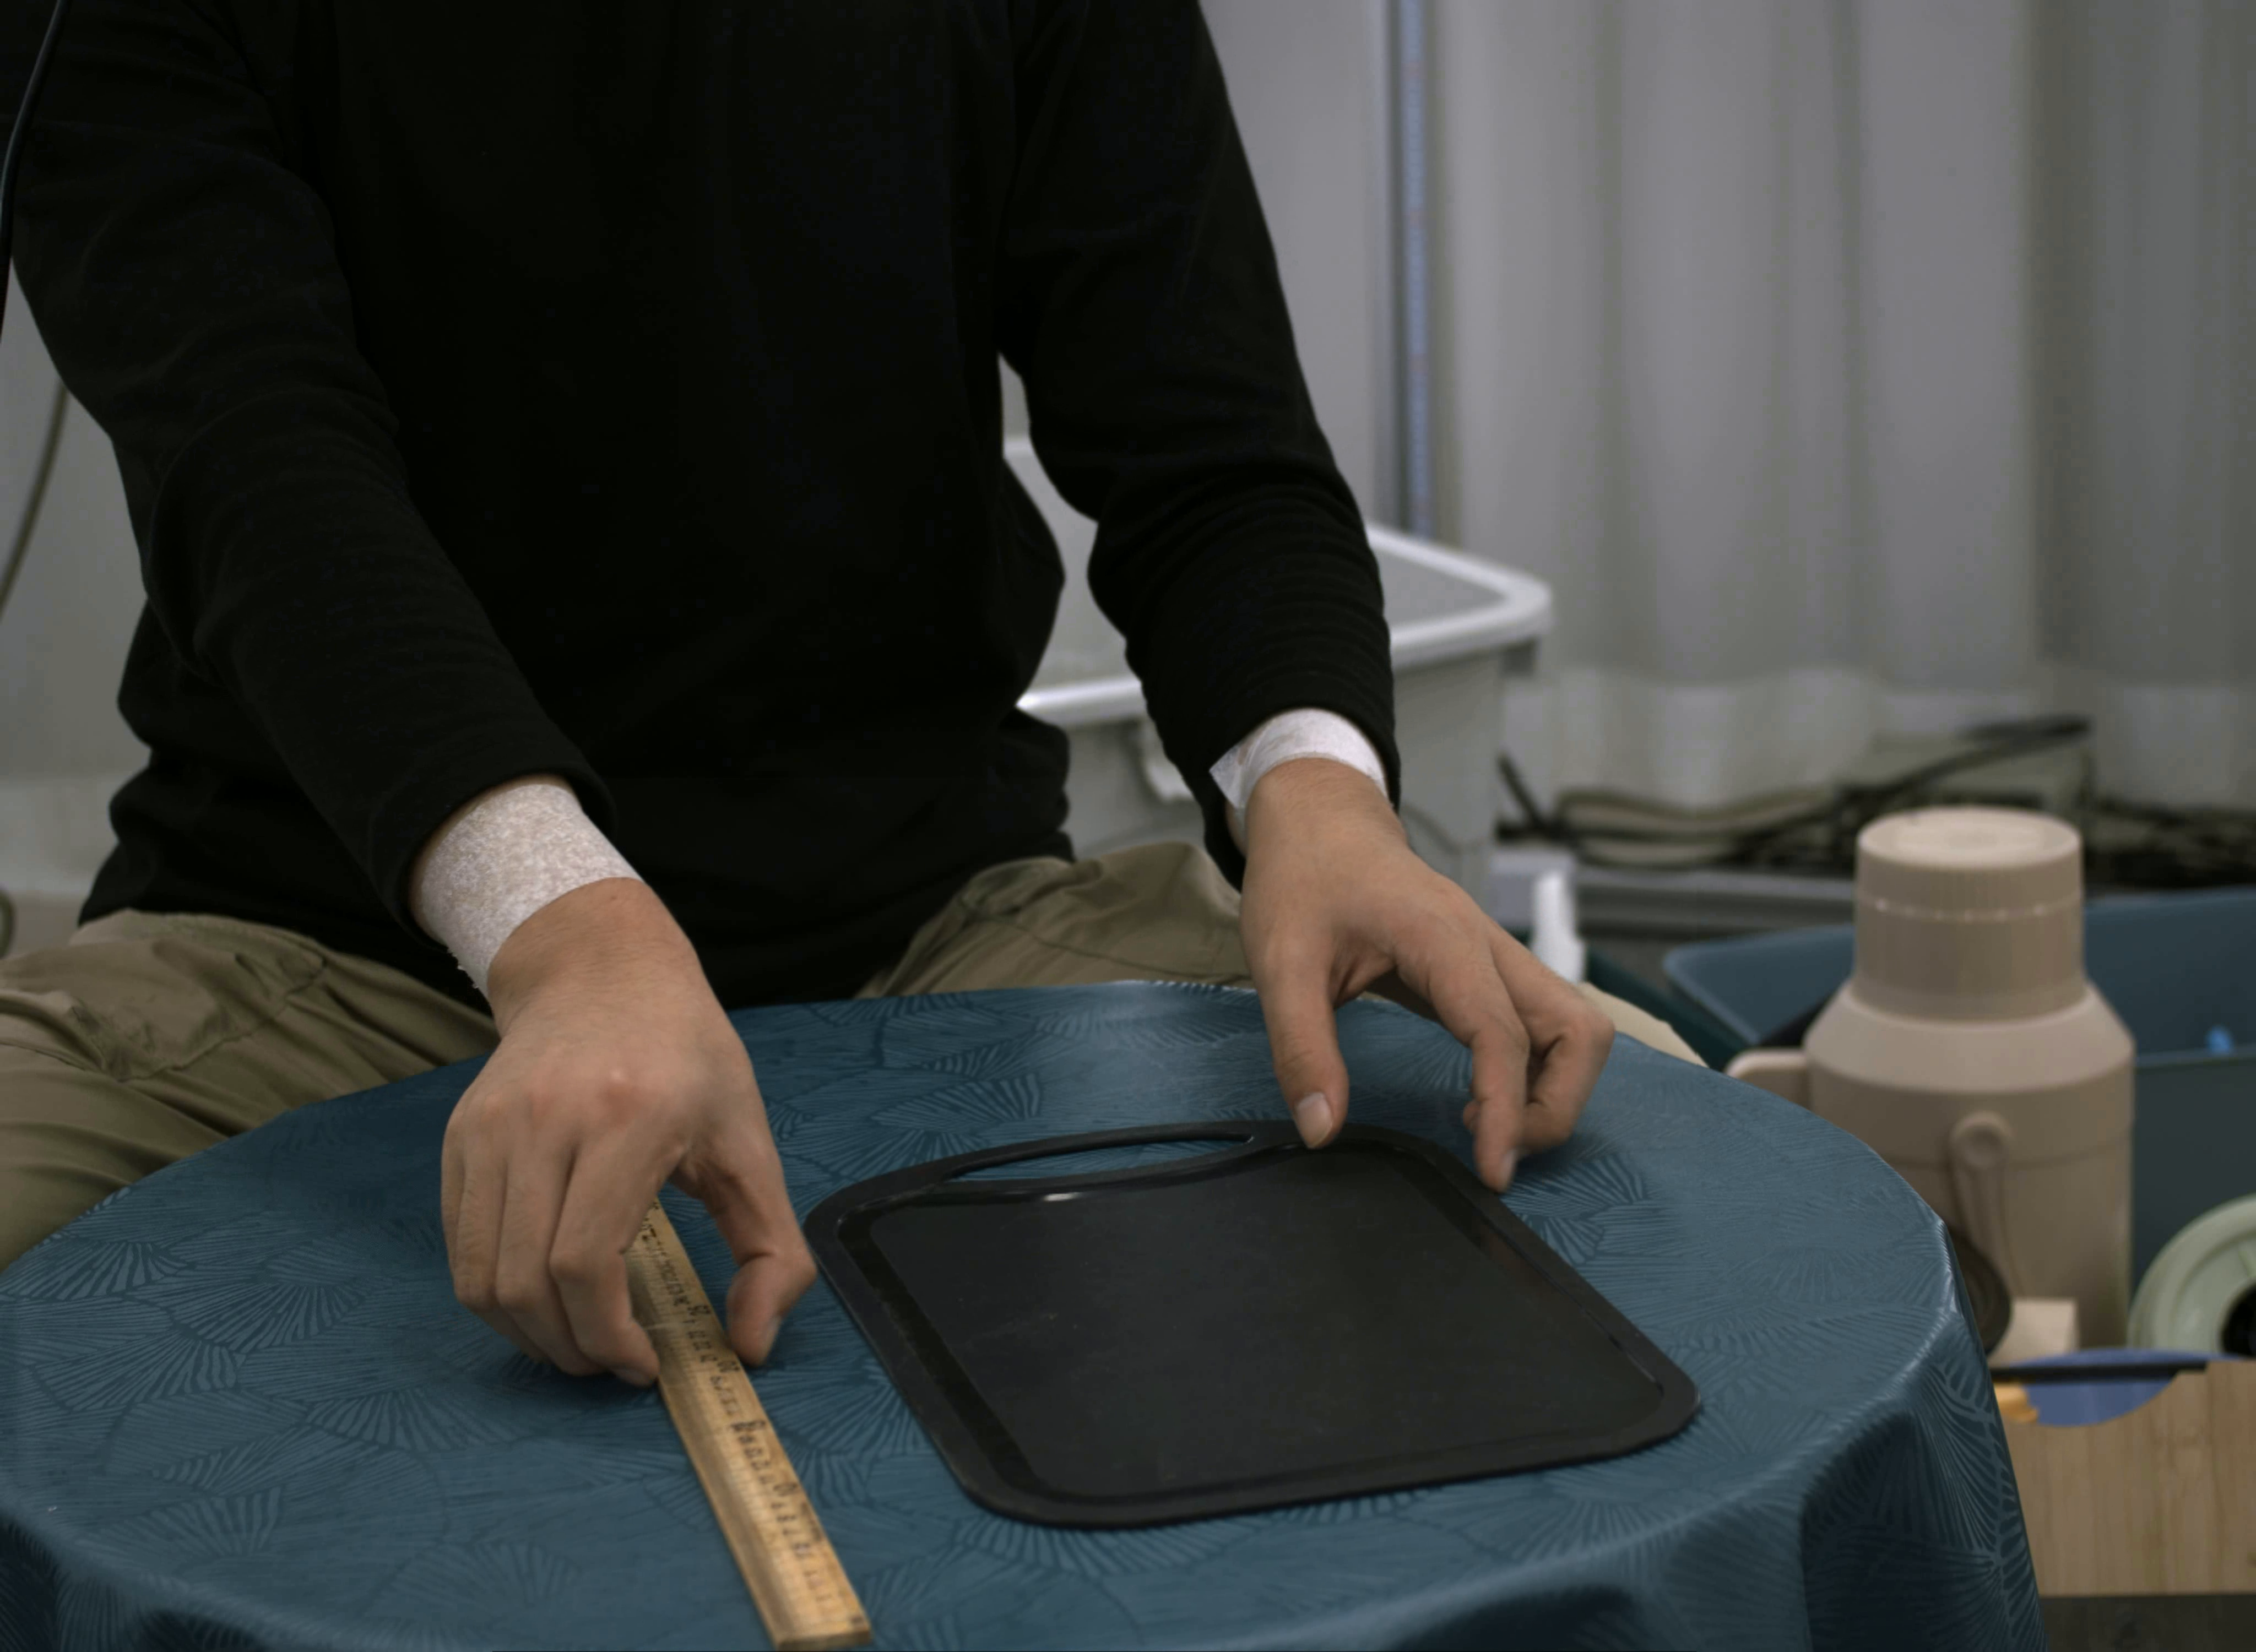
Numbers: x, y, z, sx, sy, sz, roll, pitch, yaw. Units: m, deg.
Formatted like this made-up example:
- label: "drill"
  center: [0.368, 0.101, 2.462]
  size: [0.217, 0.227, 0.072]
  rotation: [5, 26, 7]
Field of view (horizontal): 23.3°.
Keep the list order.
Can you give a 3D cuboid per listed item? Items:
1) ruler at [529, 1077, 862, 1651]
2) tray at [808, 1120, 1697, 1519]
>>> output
- label: "ruler"
  center: [-0.134, 0.146, 1.611]
  size: [0.026, 0.006, 0.504]
  rotation: [-4, 15, -12]
- label: "tray"
  center: [0.026, 0.137, 1.609]
  size: [0.210, 0.010, 0.328]
  rotation: [-6, 15, -13]
